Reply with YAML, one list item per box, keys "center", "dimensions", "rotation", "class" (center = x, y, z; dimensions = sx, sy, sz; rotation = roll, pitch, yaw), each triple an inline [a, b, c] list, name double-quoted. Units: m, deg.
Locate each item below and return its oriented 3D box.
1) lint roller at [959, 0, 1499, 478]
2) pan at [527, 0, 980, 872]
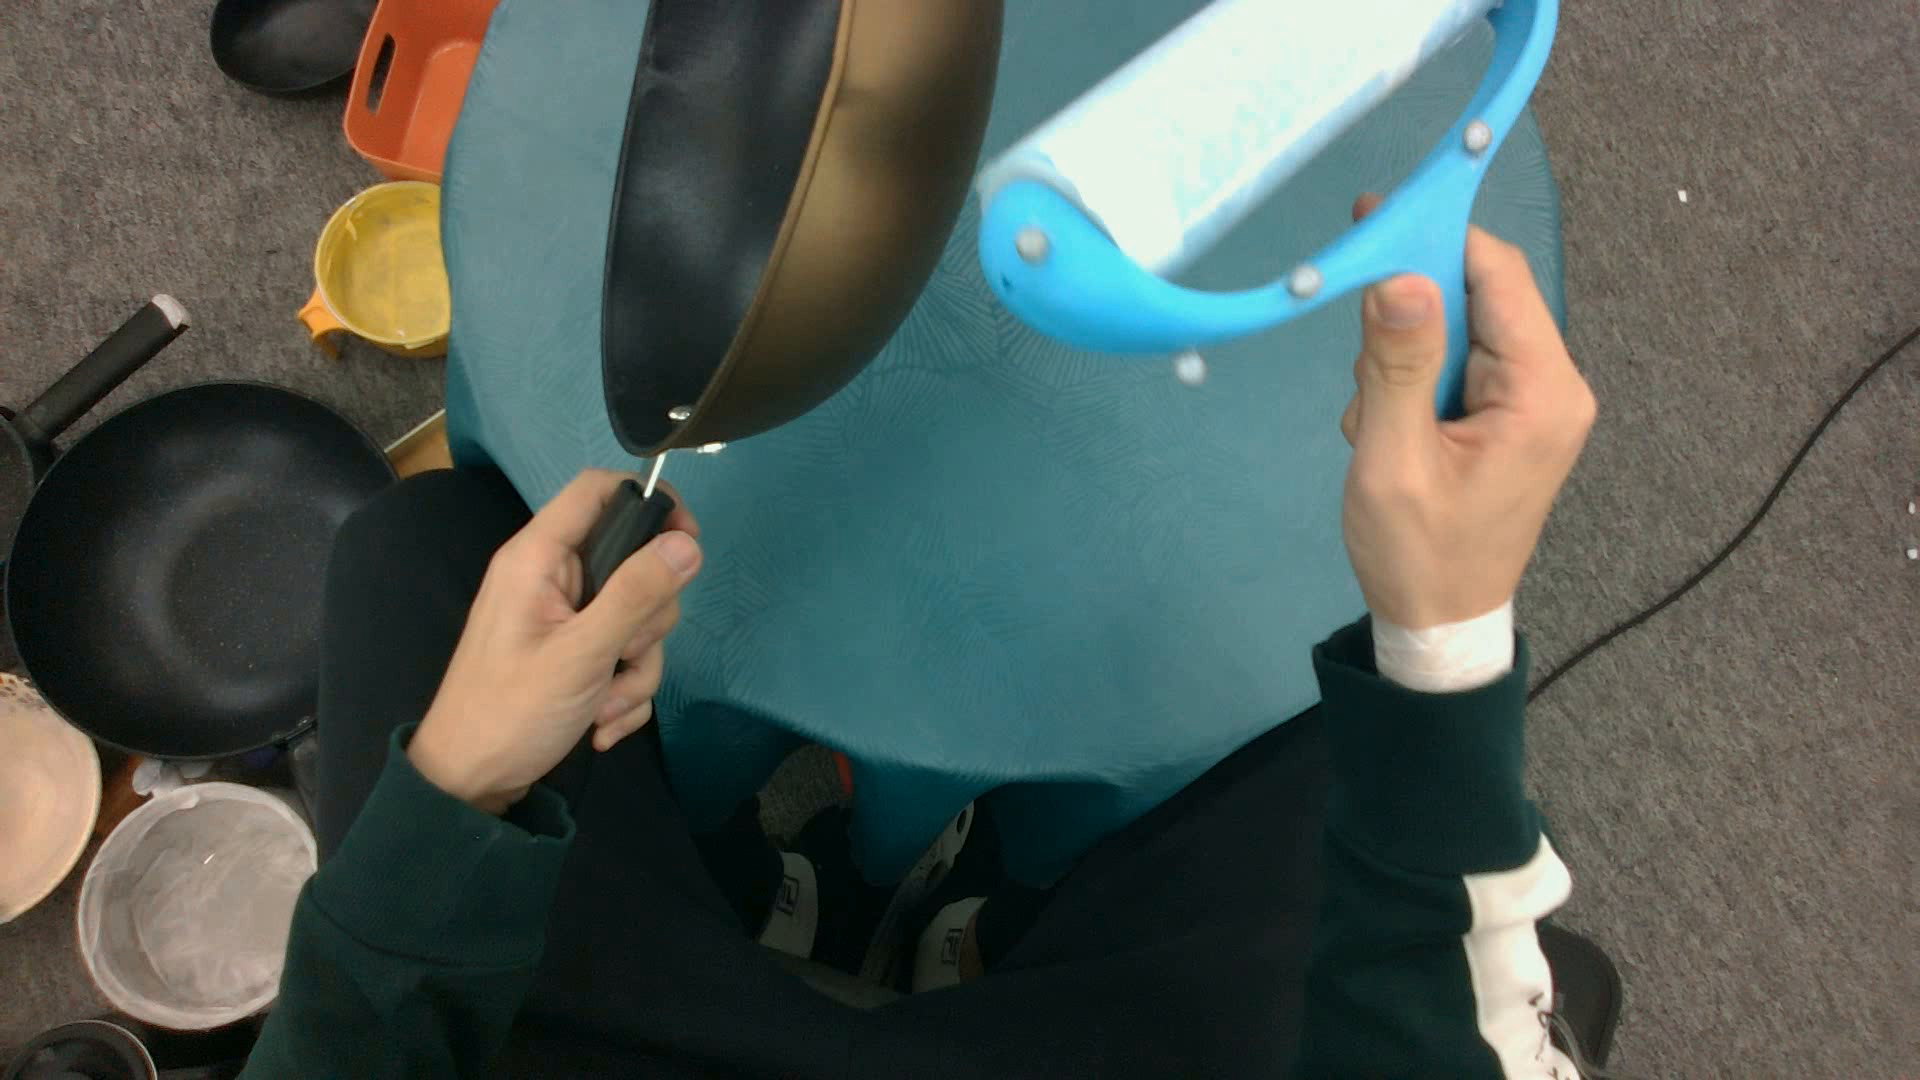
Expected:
- center: [0.114, -0.095, 0.427]
  dimensions: [0.230, 0.068, 0.180]
  rotation: [-50, 114, -27]
  class: "lint roller"
- center: [-0.087, -0.078, 0.528]
  dimensions: [0.087, 0.288, 0.462]
  rotation: [8, 104, -27]
  class: "pan"
